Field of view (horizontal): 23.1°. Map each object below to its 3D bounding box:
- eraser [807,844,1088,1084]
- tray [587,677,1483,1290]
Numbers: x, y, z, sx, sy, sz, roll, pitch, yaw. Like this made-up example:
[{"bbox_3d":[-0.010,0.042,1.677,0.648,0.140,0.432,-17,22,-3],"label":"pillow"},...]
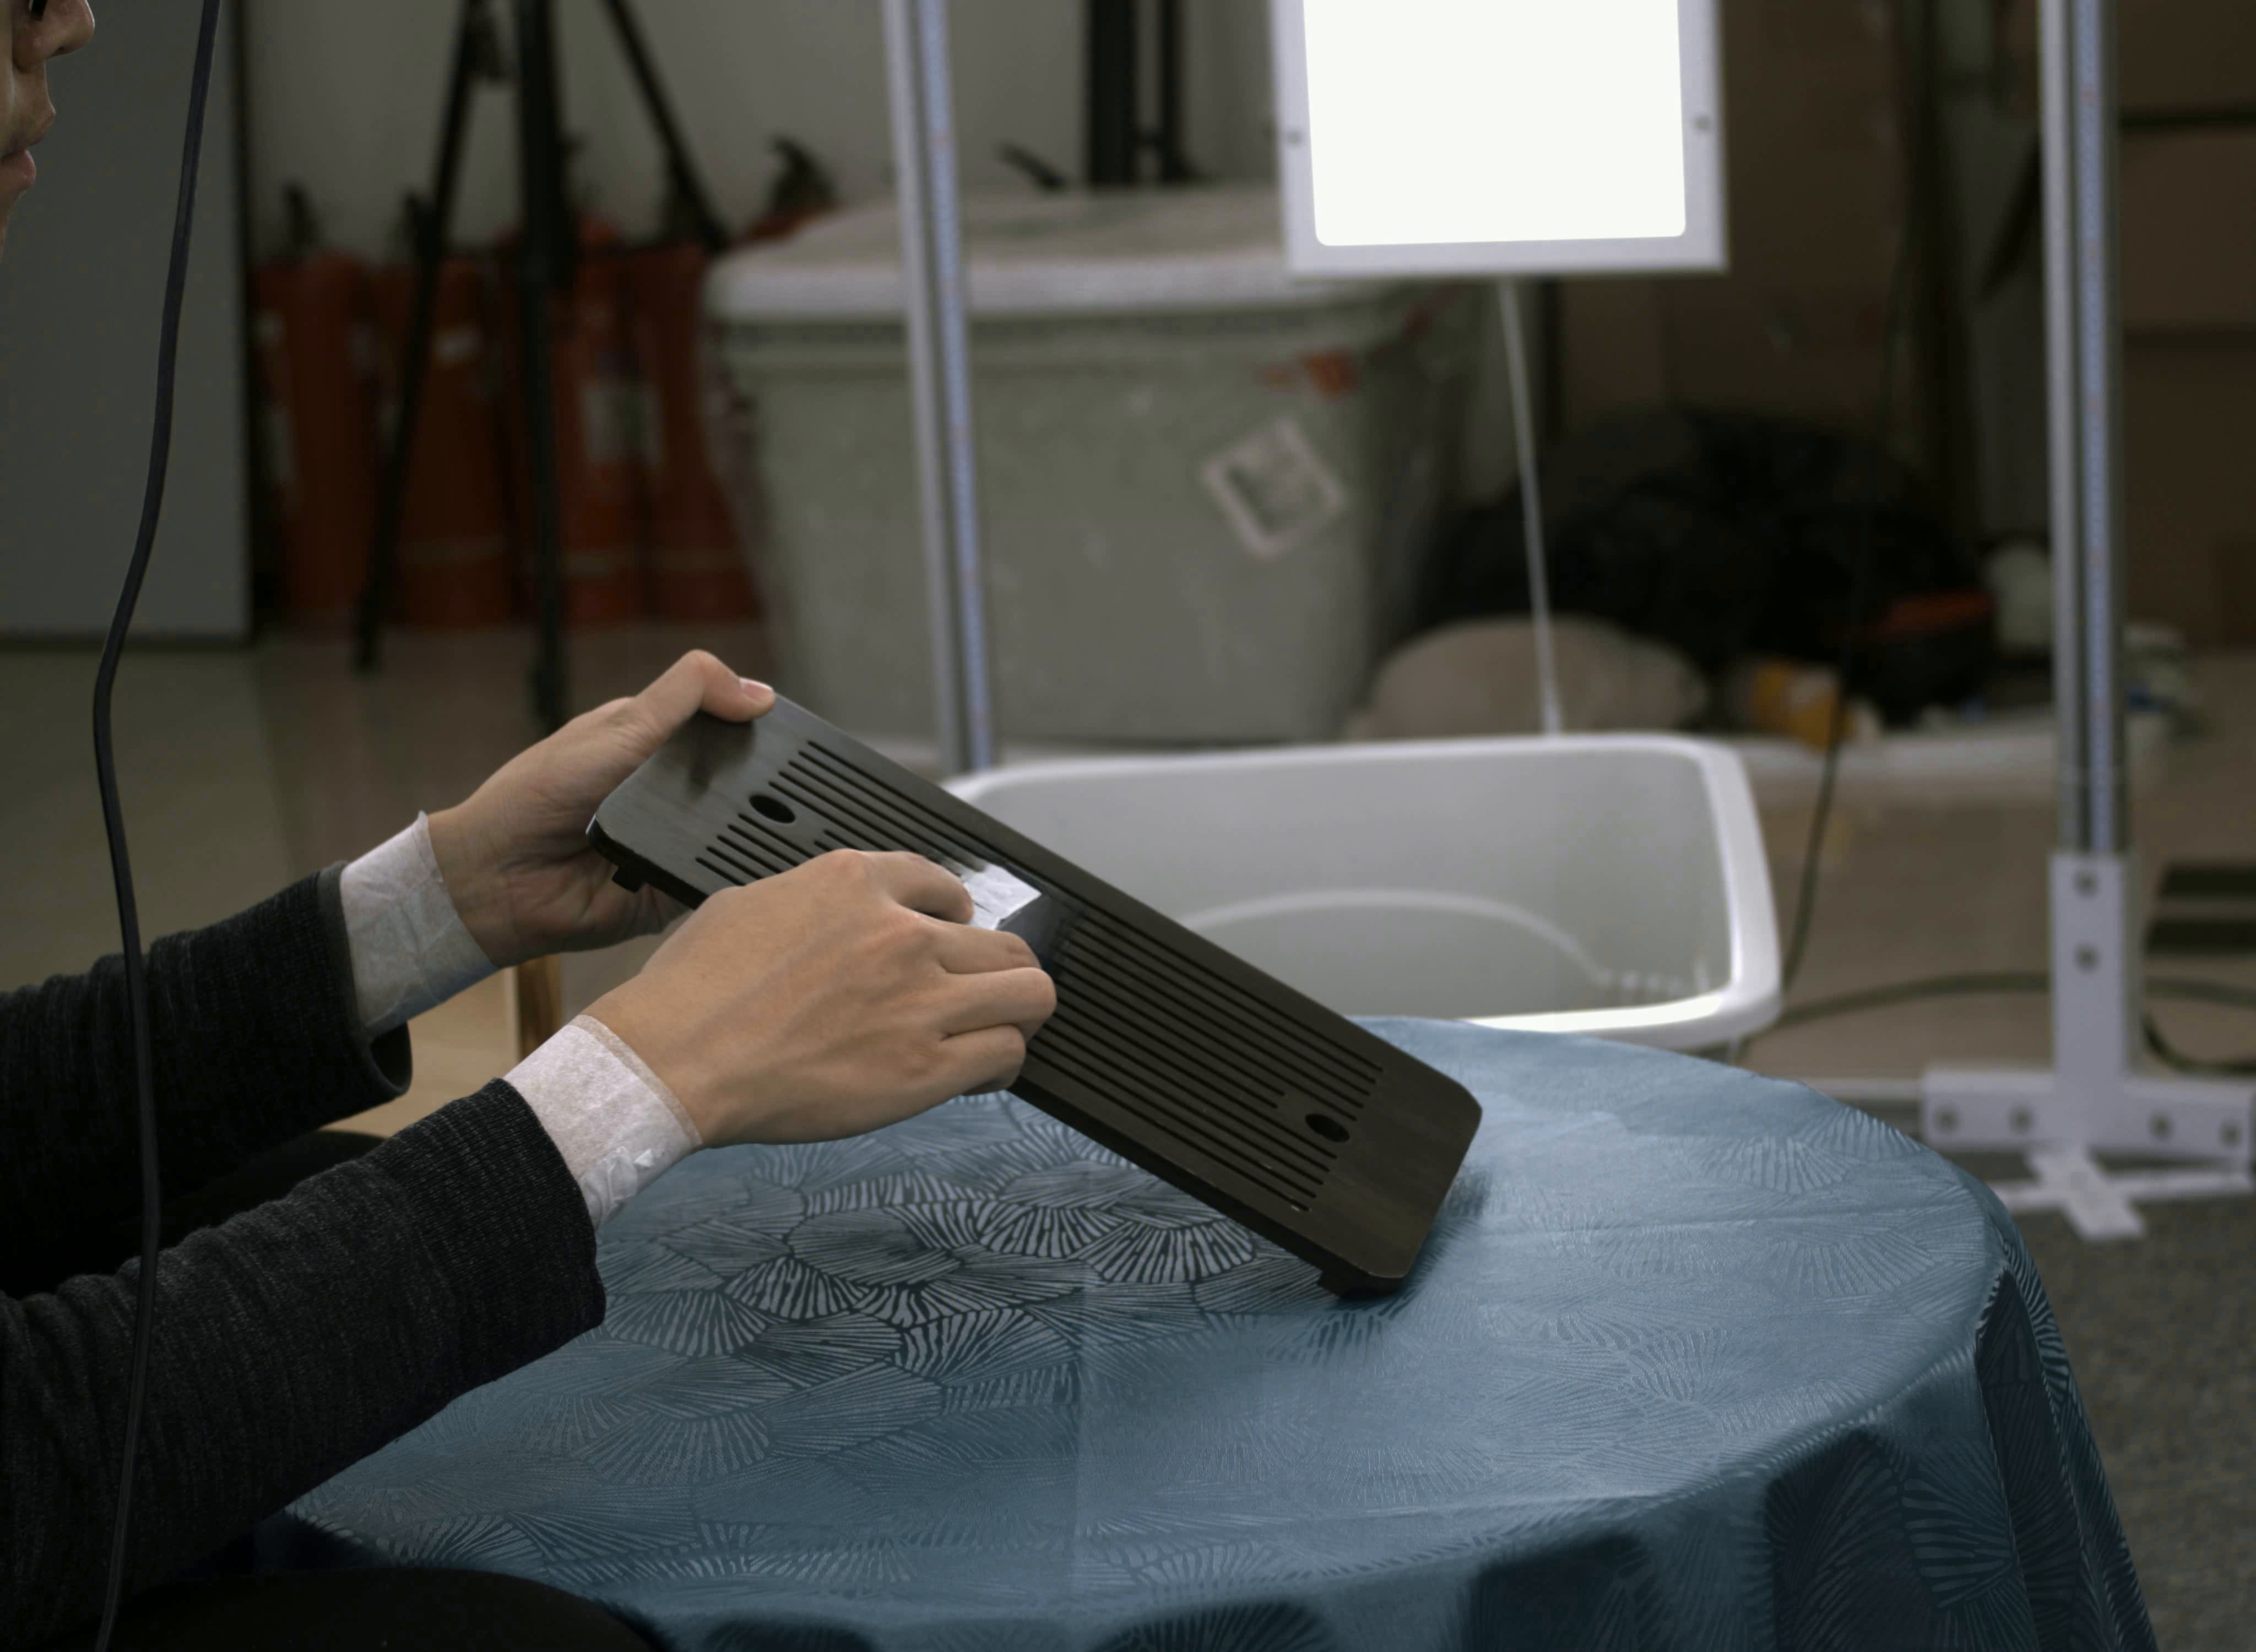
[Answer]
[{"bbox_3d":[-0.058,0.043,1.780,0.054,0.031,0.123,28,23,9],"label":"eraser"},{"bbox_3d":[-0.028,0.052,1.852,0.306,0.019,0.167,29,23,5],"label":"tray"}]
